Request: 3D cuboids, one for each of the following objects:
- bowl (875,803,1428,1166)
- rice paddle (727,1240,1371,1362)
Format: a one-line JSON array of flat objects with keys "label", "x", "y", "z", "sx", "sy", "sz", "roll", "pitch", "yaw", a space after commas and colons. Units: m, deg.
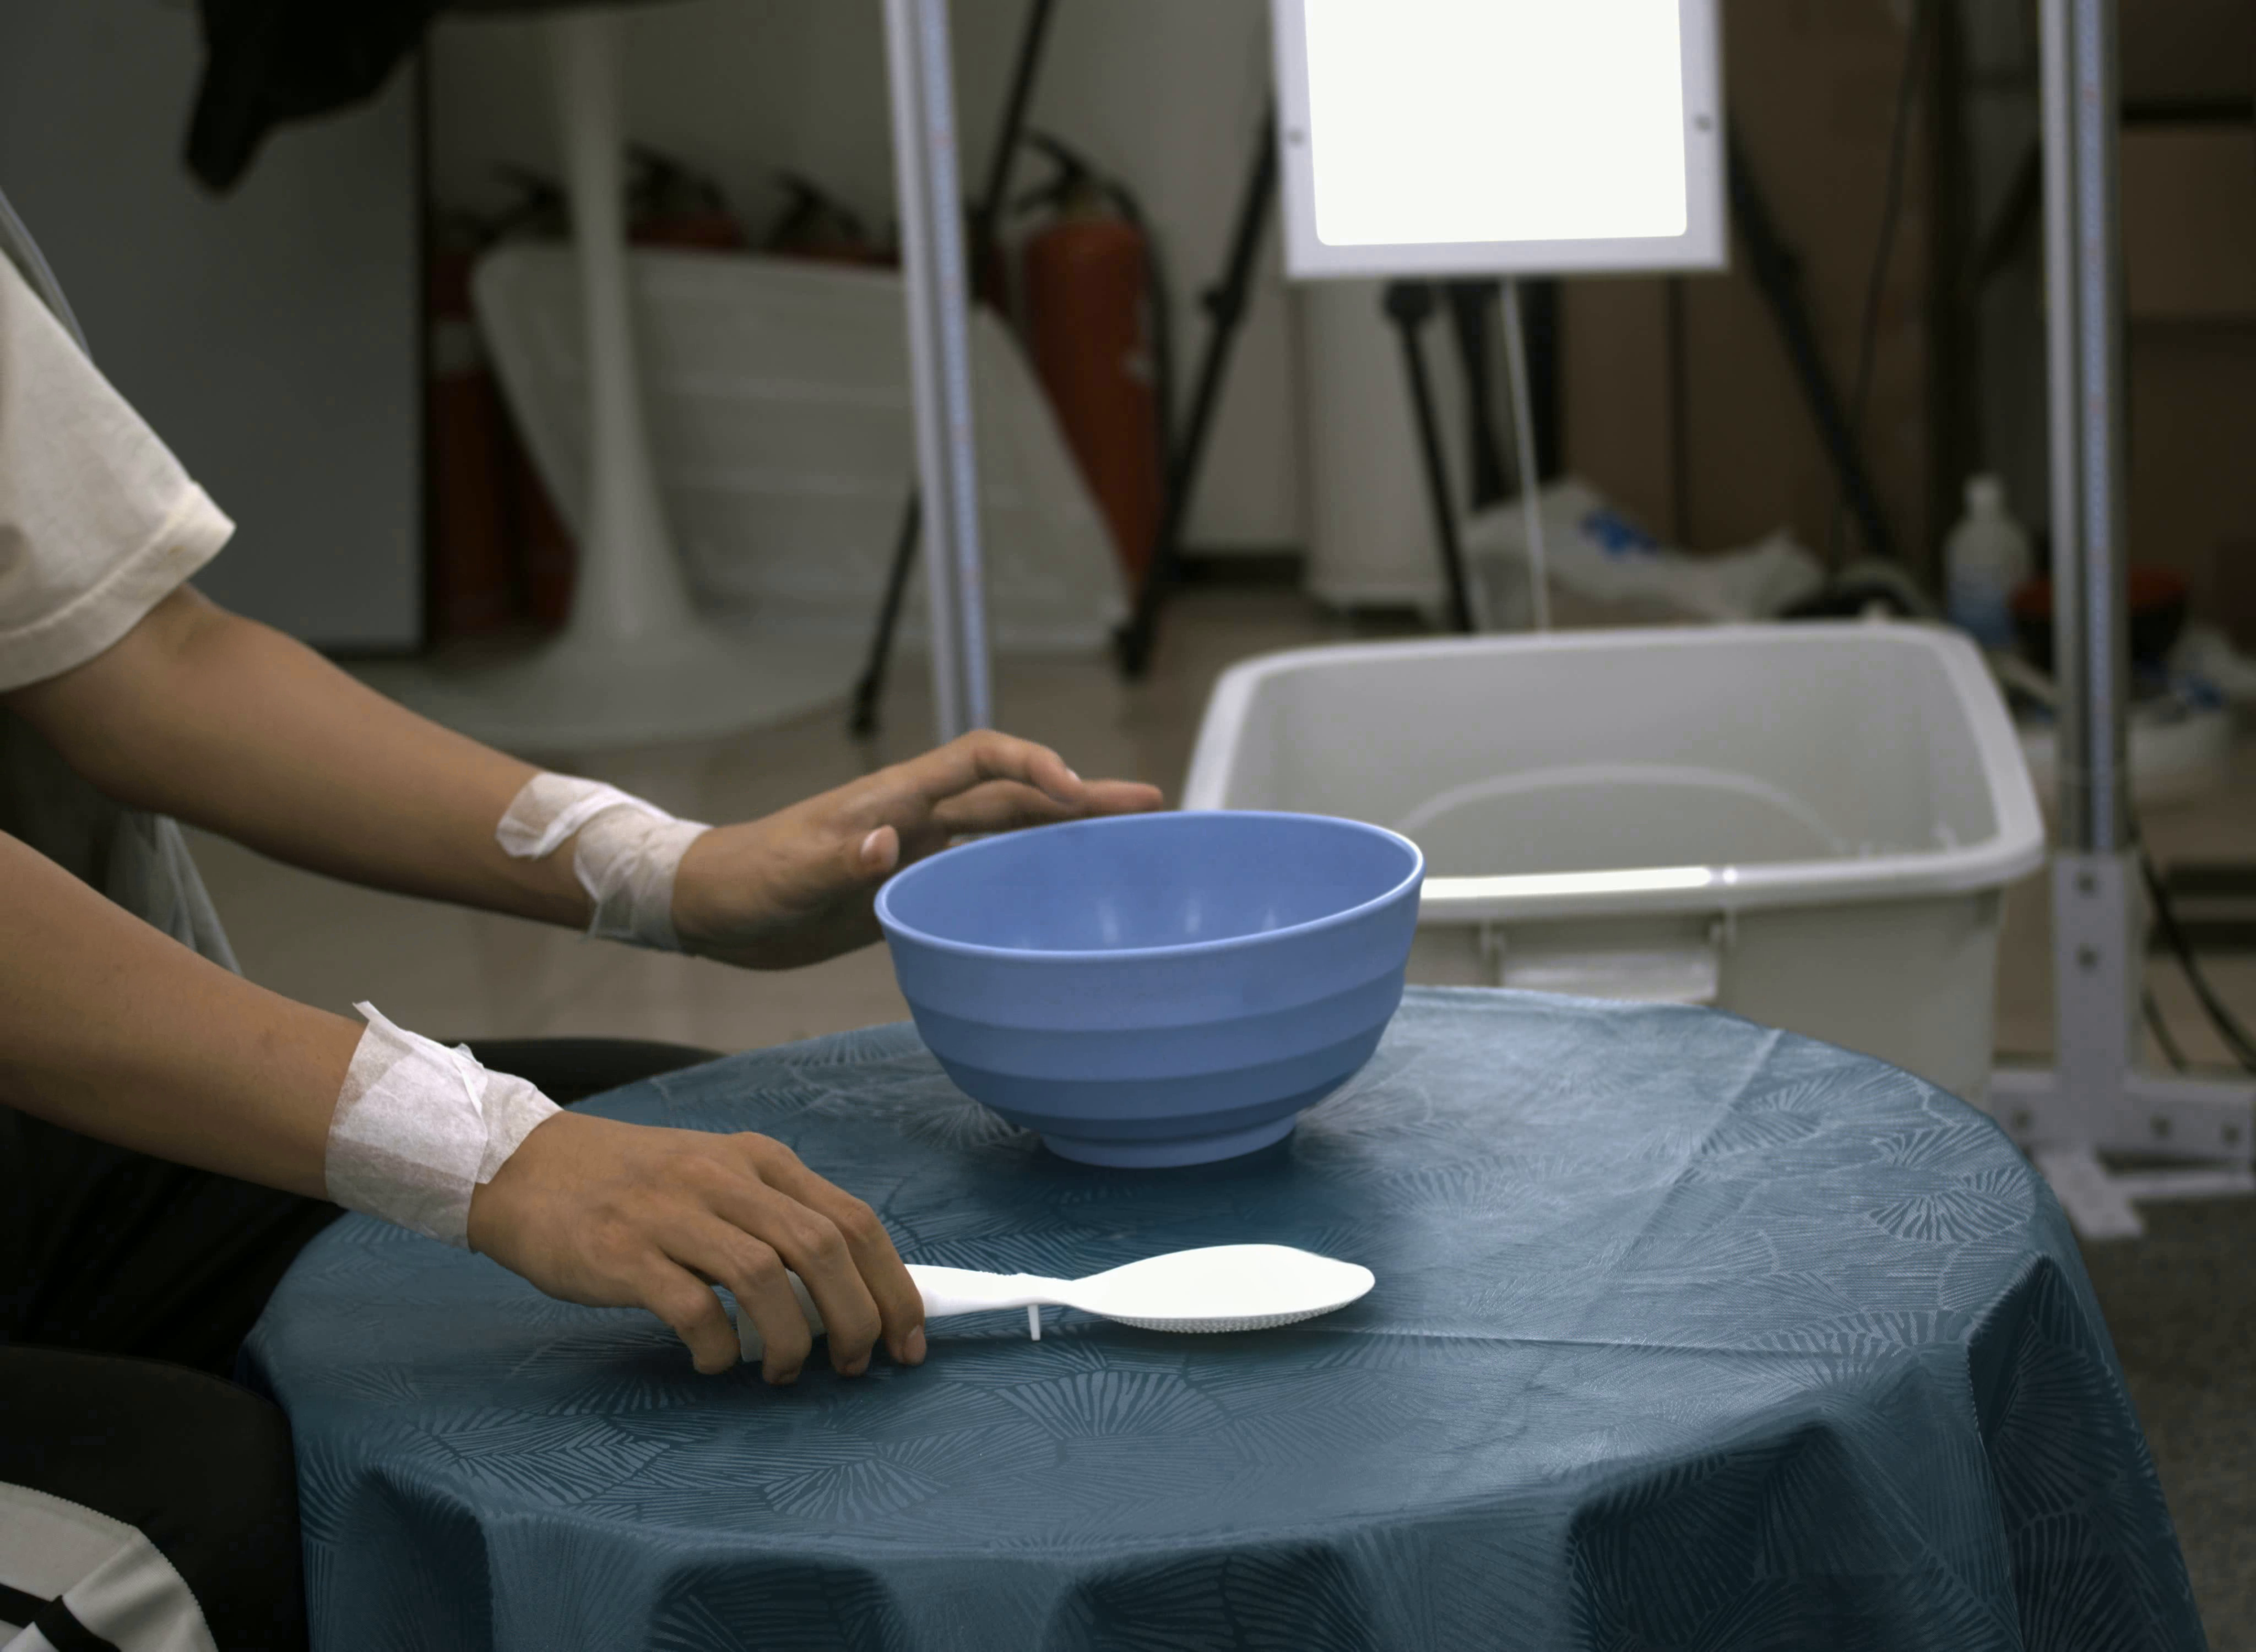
[{"label": "bowl", "x": 0.011, "y": 0.062, "z": 1.953, "sx": 0.196, "sy": 0.096, "sz": 0.196, "roll": -4, "pitch": 14, "yaw": 0}, {"label": "rice paddle", "x": -0.024, "y": 0.148, "z": 1.755, "sx": 0.205, "sy": 0.029, "sz": 0.068, "roll": -4, "pitch": 15, "yaw": 4}]
